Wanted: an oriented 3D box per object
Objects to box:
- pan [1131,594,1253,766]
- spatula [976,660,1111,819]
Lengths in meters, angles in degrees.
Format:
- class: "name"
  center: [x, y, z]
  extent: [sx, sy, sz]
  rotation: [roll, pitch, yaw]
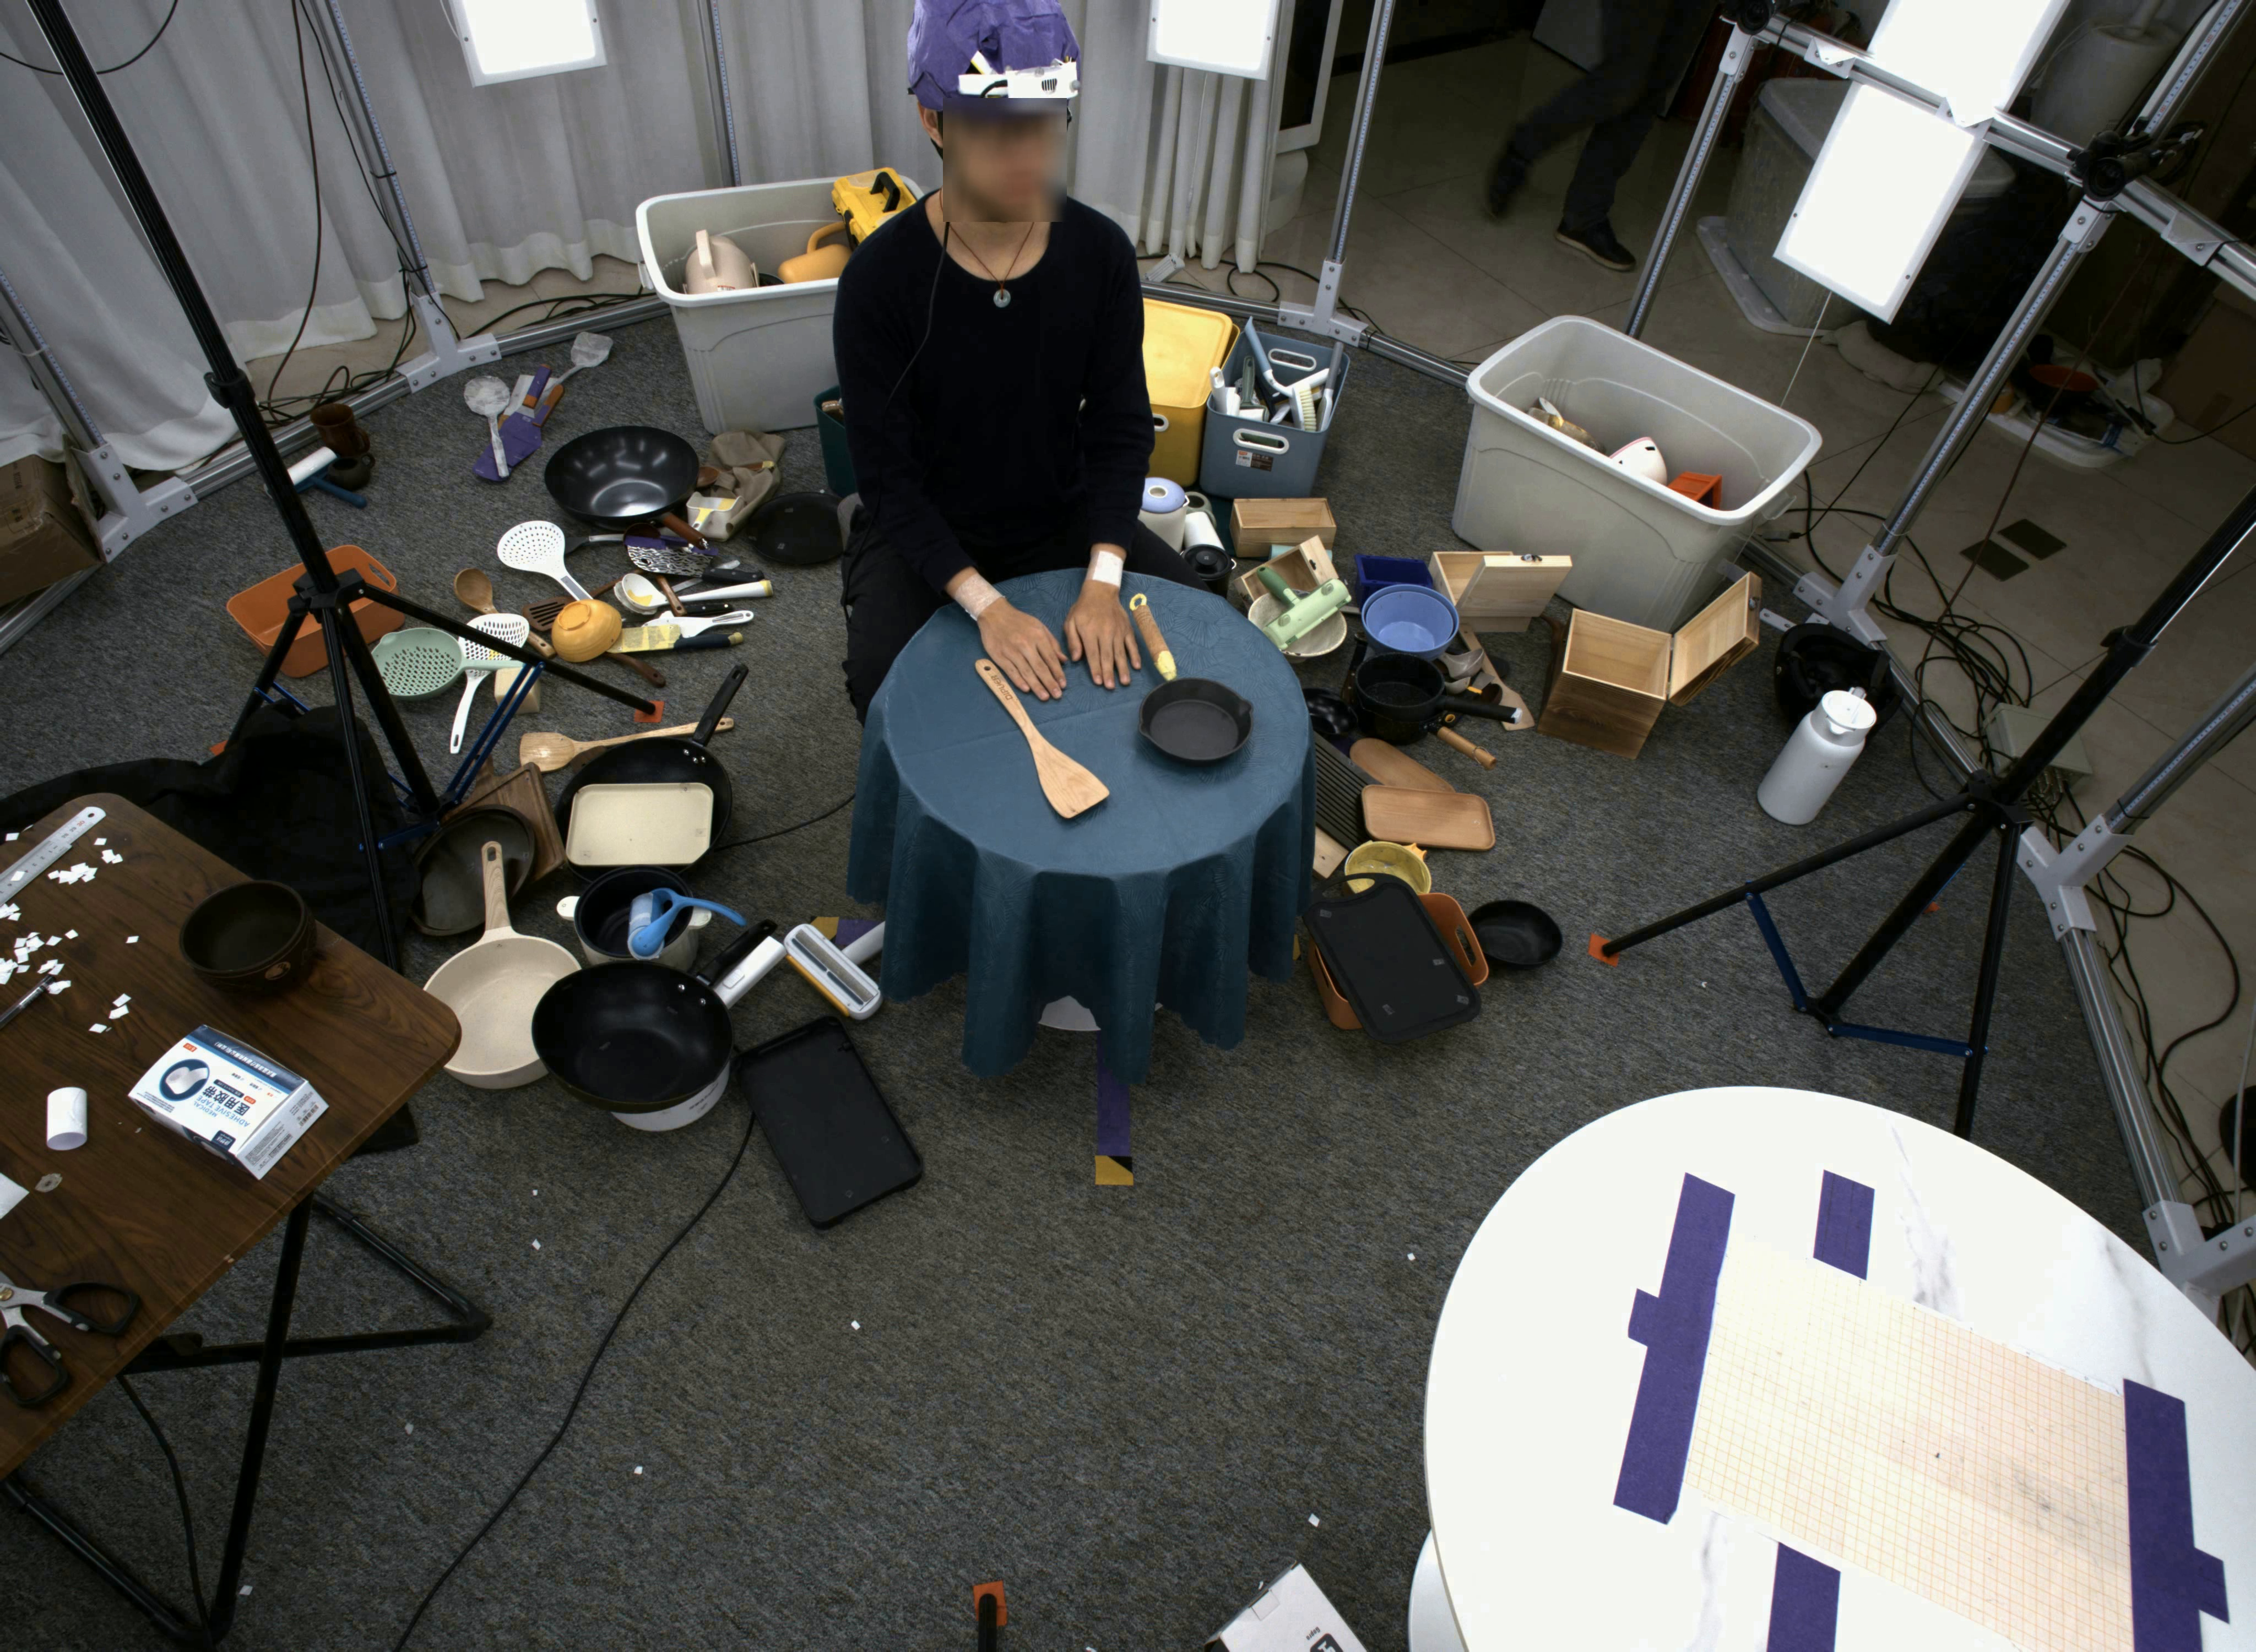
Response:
- class: "pan"
  center: [0.066, -0.209, 1.822]
  extent: [0.169, 0.048, 0.332]
  rotation: [-12, 52, -14]
- class: "spatula"
  center: [-0.129, -0.129, 1.761]
  extent: [0.080, 0.016, 0.334]
  rotation: [-21, 54, -22]
